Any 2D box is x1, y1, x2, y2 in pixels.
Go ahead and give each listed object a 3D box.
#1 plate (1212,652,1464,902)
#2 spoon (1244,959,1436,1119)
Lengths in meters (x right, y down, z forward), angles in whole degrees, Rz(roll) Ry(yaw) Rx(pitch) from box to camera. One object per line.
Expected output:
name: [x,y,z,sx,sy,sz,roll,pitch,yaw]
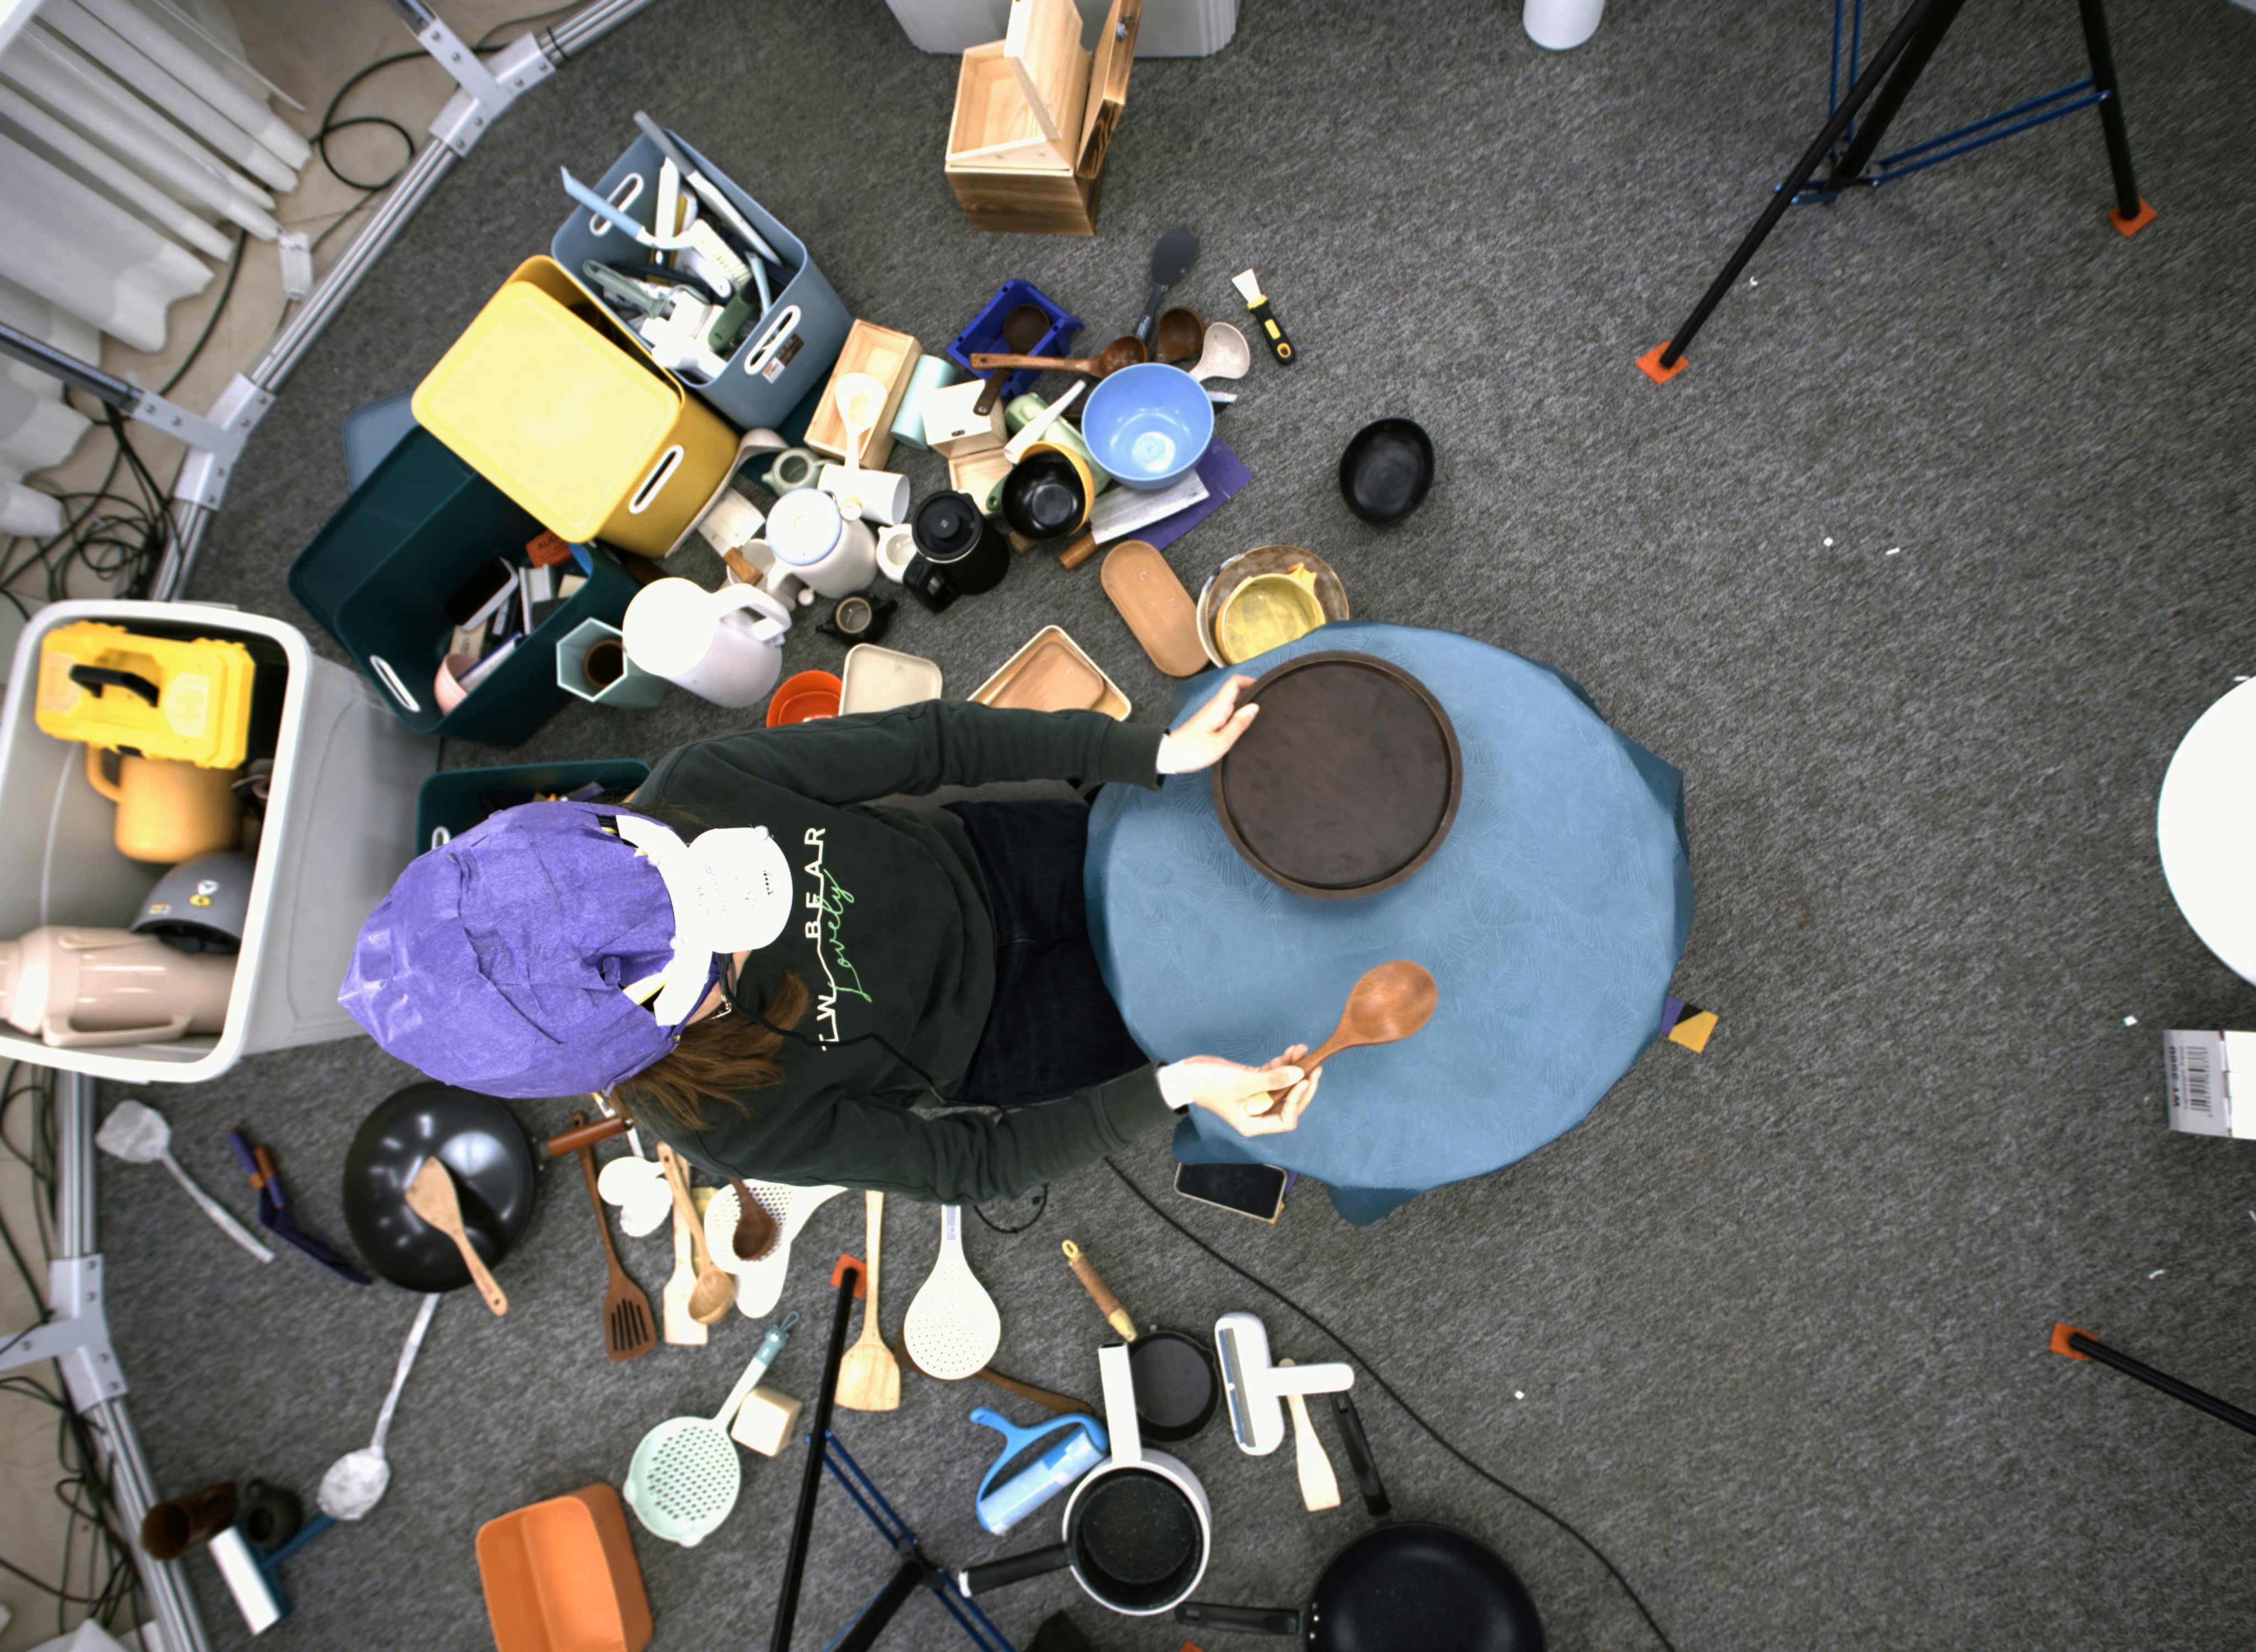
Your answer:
plate: [0.212,-0.050,1.400,0.255,0.029,0.255,0,95,5]
spoon: [0.198,0.203,1.304,0.215,0.017,0.074,-37,63,-3]
